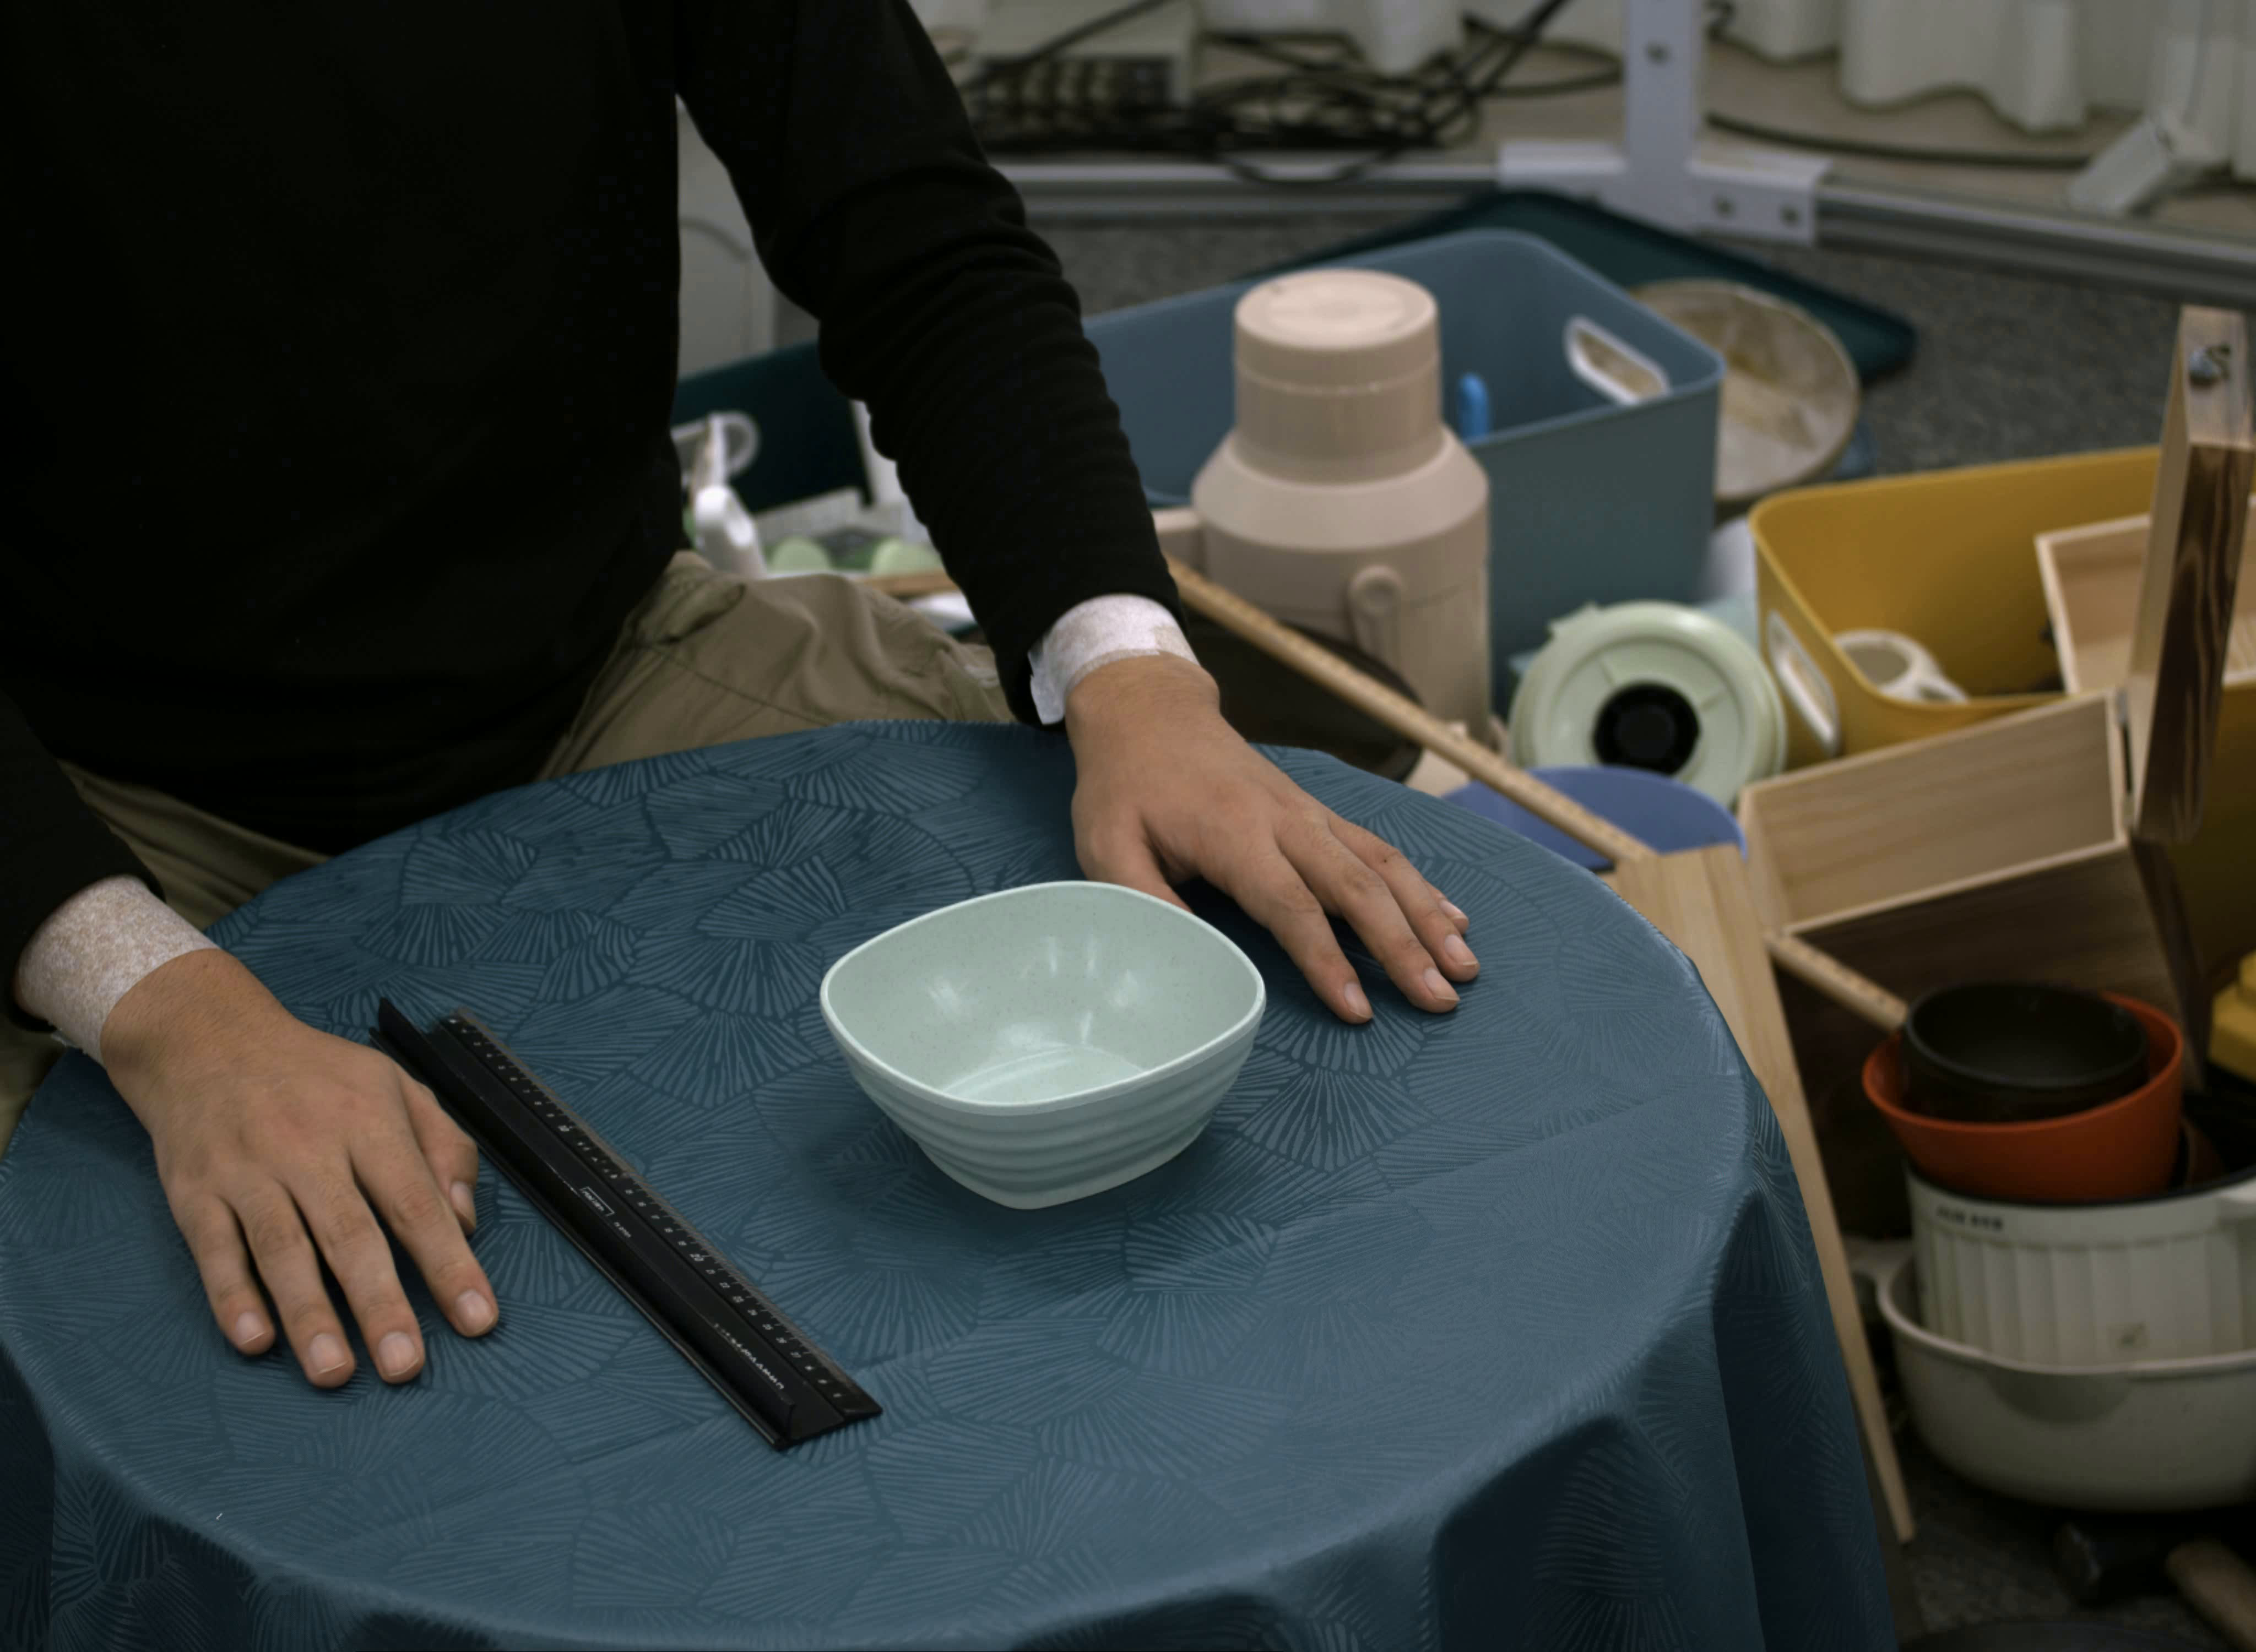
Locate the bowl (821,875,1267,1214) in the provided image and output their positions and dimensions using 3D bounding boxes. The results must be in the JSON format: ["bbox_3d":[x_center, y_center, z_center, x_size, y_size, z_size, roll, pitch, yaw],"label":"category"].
[{"bbox_3d":[-0.027,0.079,1.886,0.151,0.058,0.154,-2,29,1],"label":"bowl"}]

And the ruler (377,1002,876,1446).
[{"bbox_3d":[-0.170,0.123,1.858,0.039,0.017,0.314,-13,29,-27],"label":"ruler"}]
